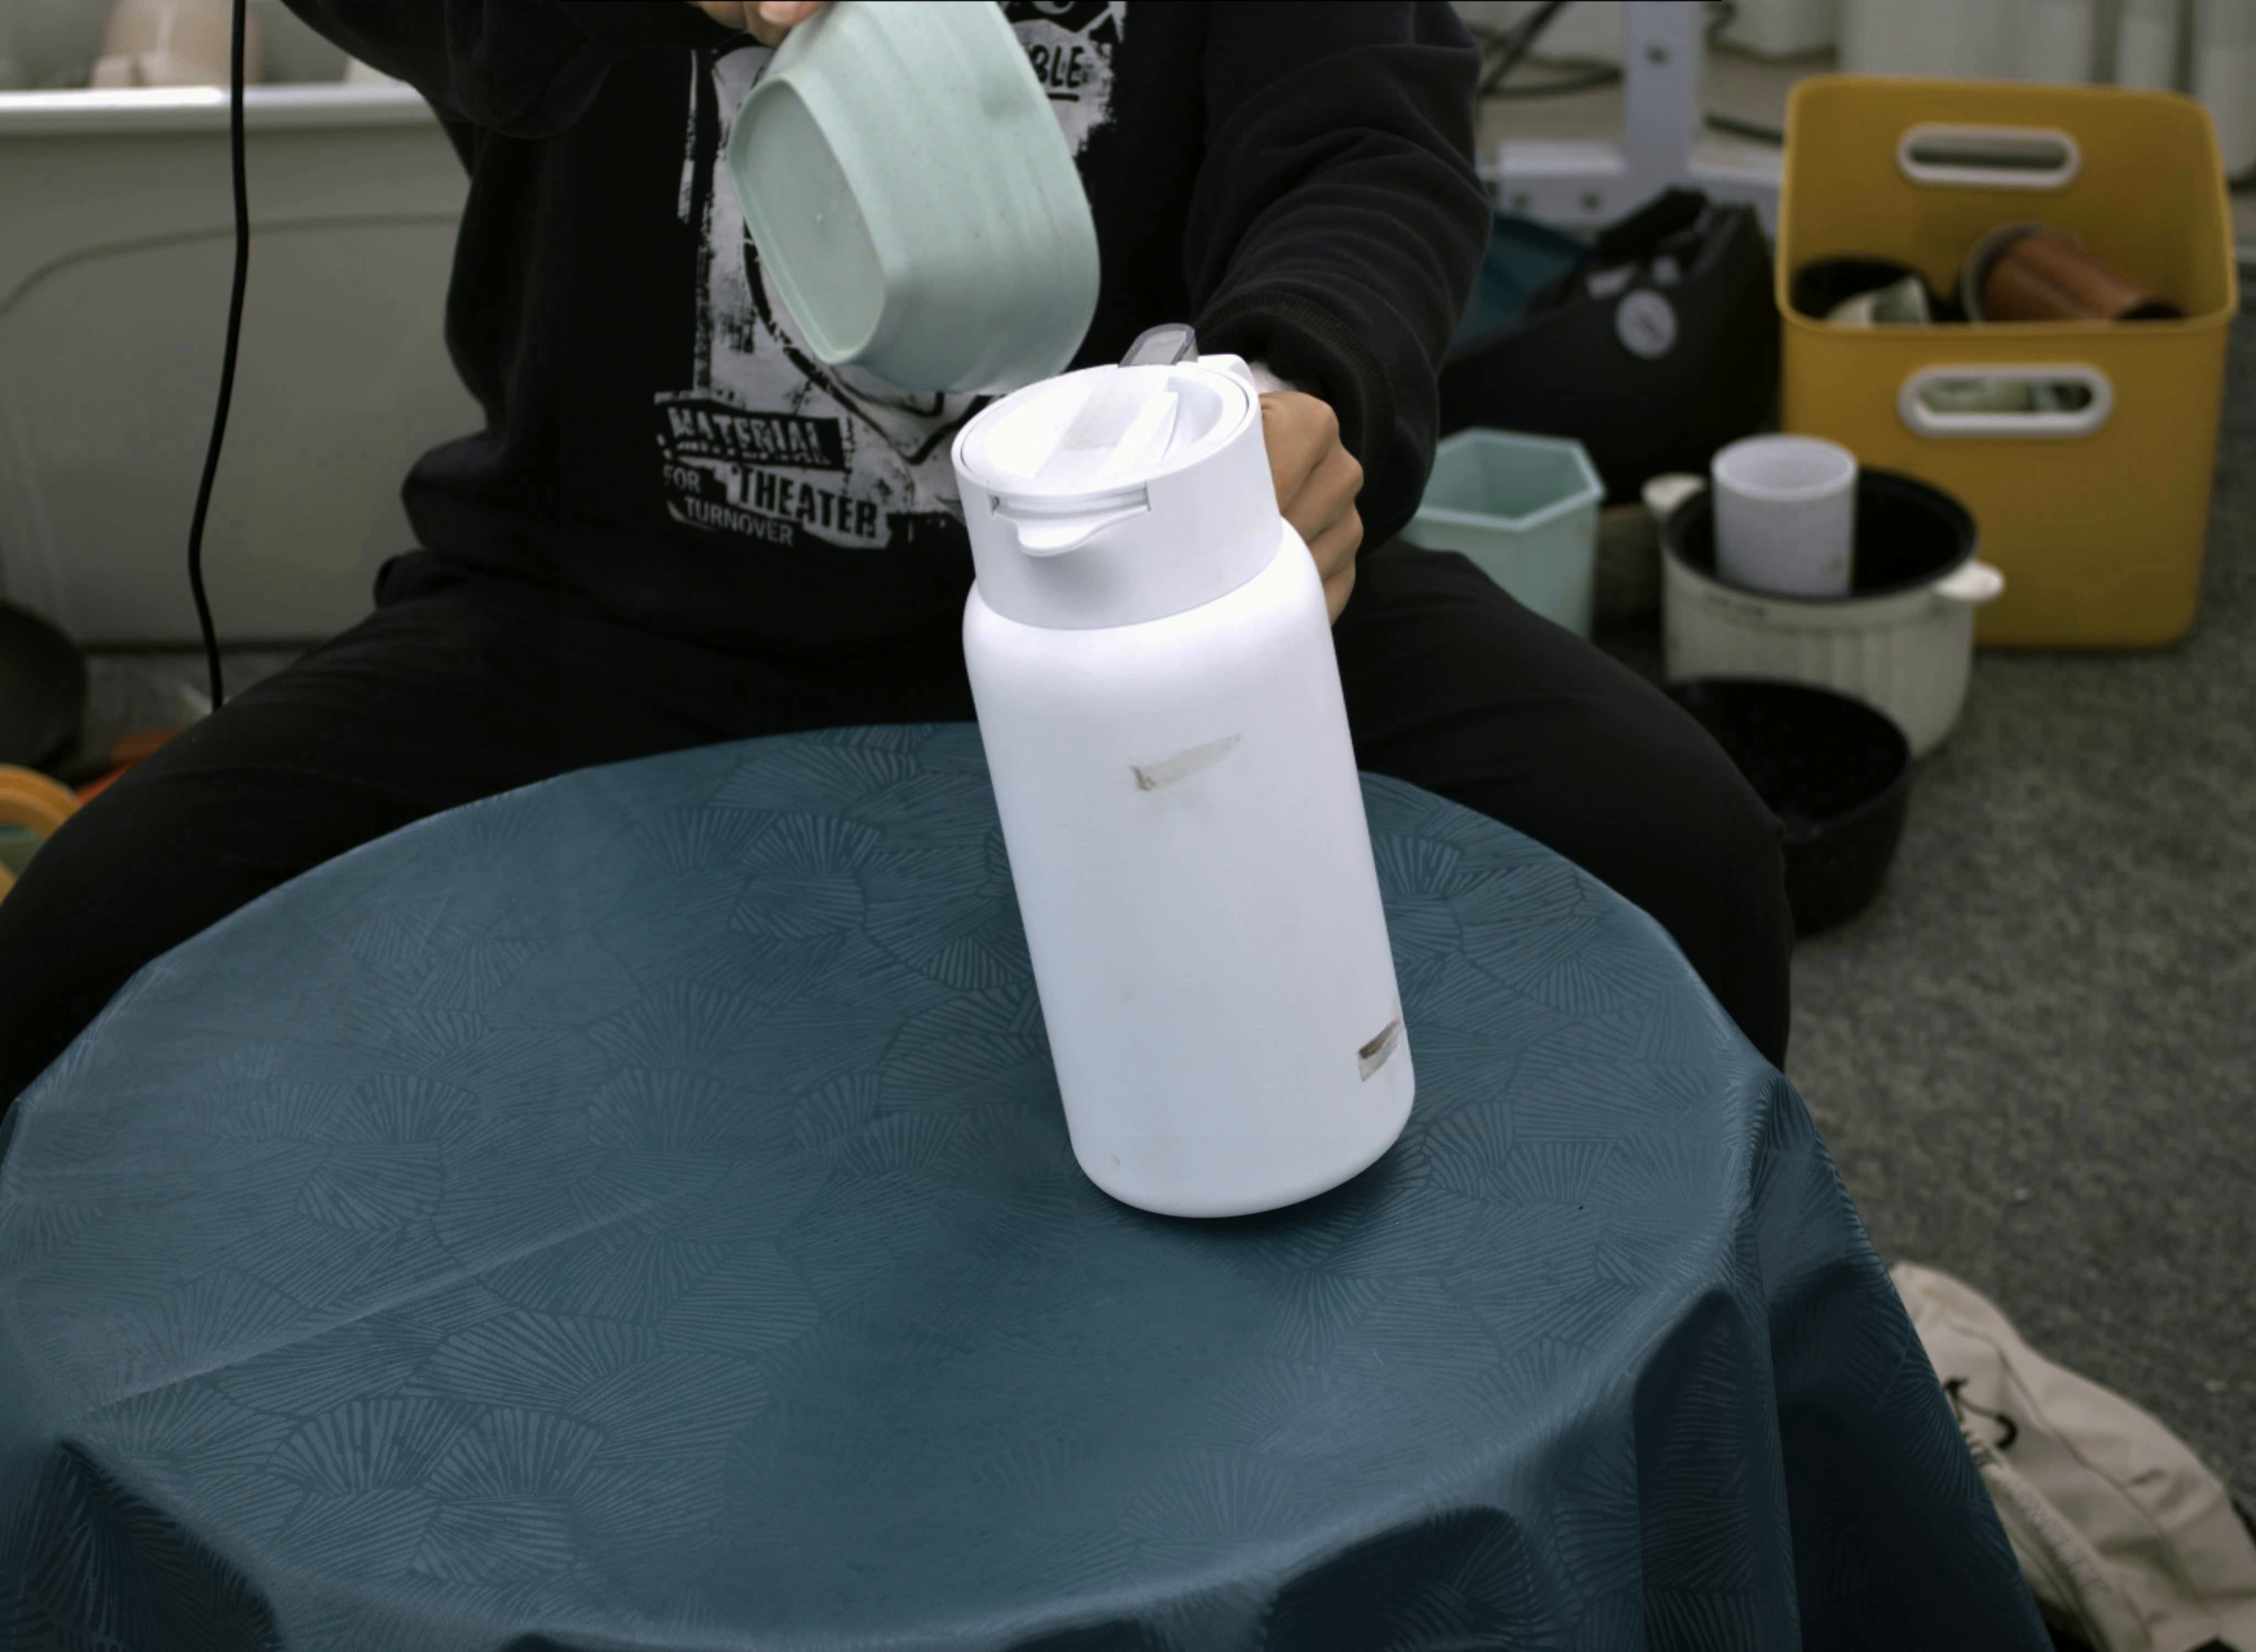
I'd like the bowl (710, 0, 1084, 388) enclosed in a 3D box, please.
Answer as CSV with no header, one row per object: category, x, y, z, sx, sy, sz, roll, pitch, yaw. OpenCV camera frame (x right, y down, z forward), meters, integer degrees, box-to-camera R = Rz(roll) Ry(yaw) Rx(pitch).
bowl,-0.077,-0.193,1.693,0.059,0.150,0.152,-23,33,-25

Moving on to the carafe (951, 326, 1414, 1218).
carafe,0.019,-0.021,1.836,0.123,0.266,0.176,-4,27,19
